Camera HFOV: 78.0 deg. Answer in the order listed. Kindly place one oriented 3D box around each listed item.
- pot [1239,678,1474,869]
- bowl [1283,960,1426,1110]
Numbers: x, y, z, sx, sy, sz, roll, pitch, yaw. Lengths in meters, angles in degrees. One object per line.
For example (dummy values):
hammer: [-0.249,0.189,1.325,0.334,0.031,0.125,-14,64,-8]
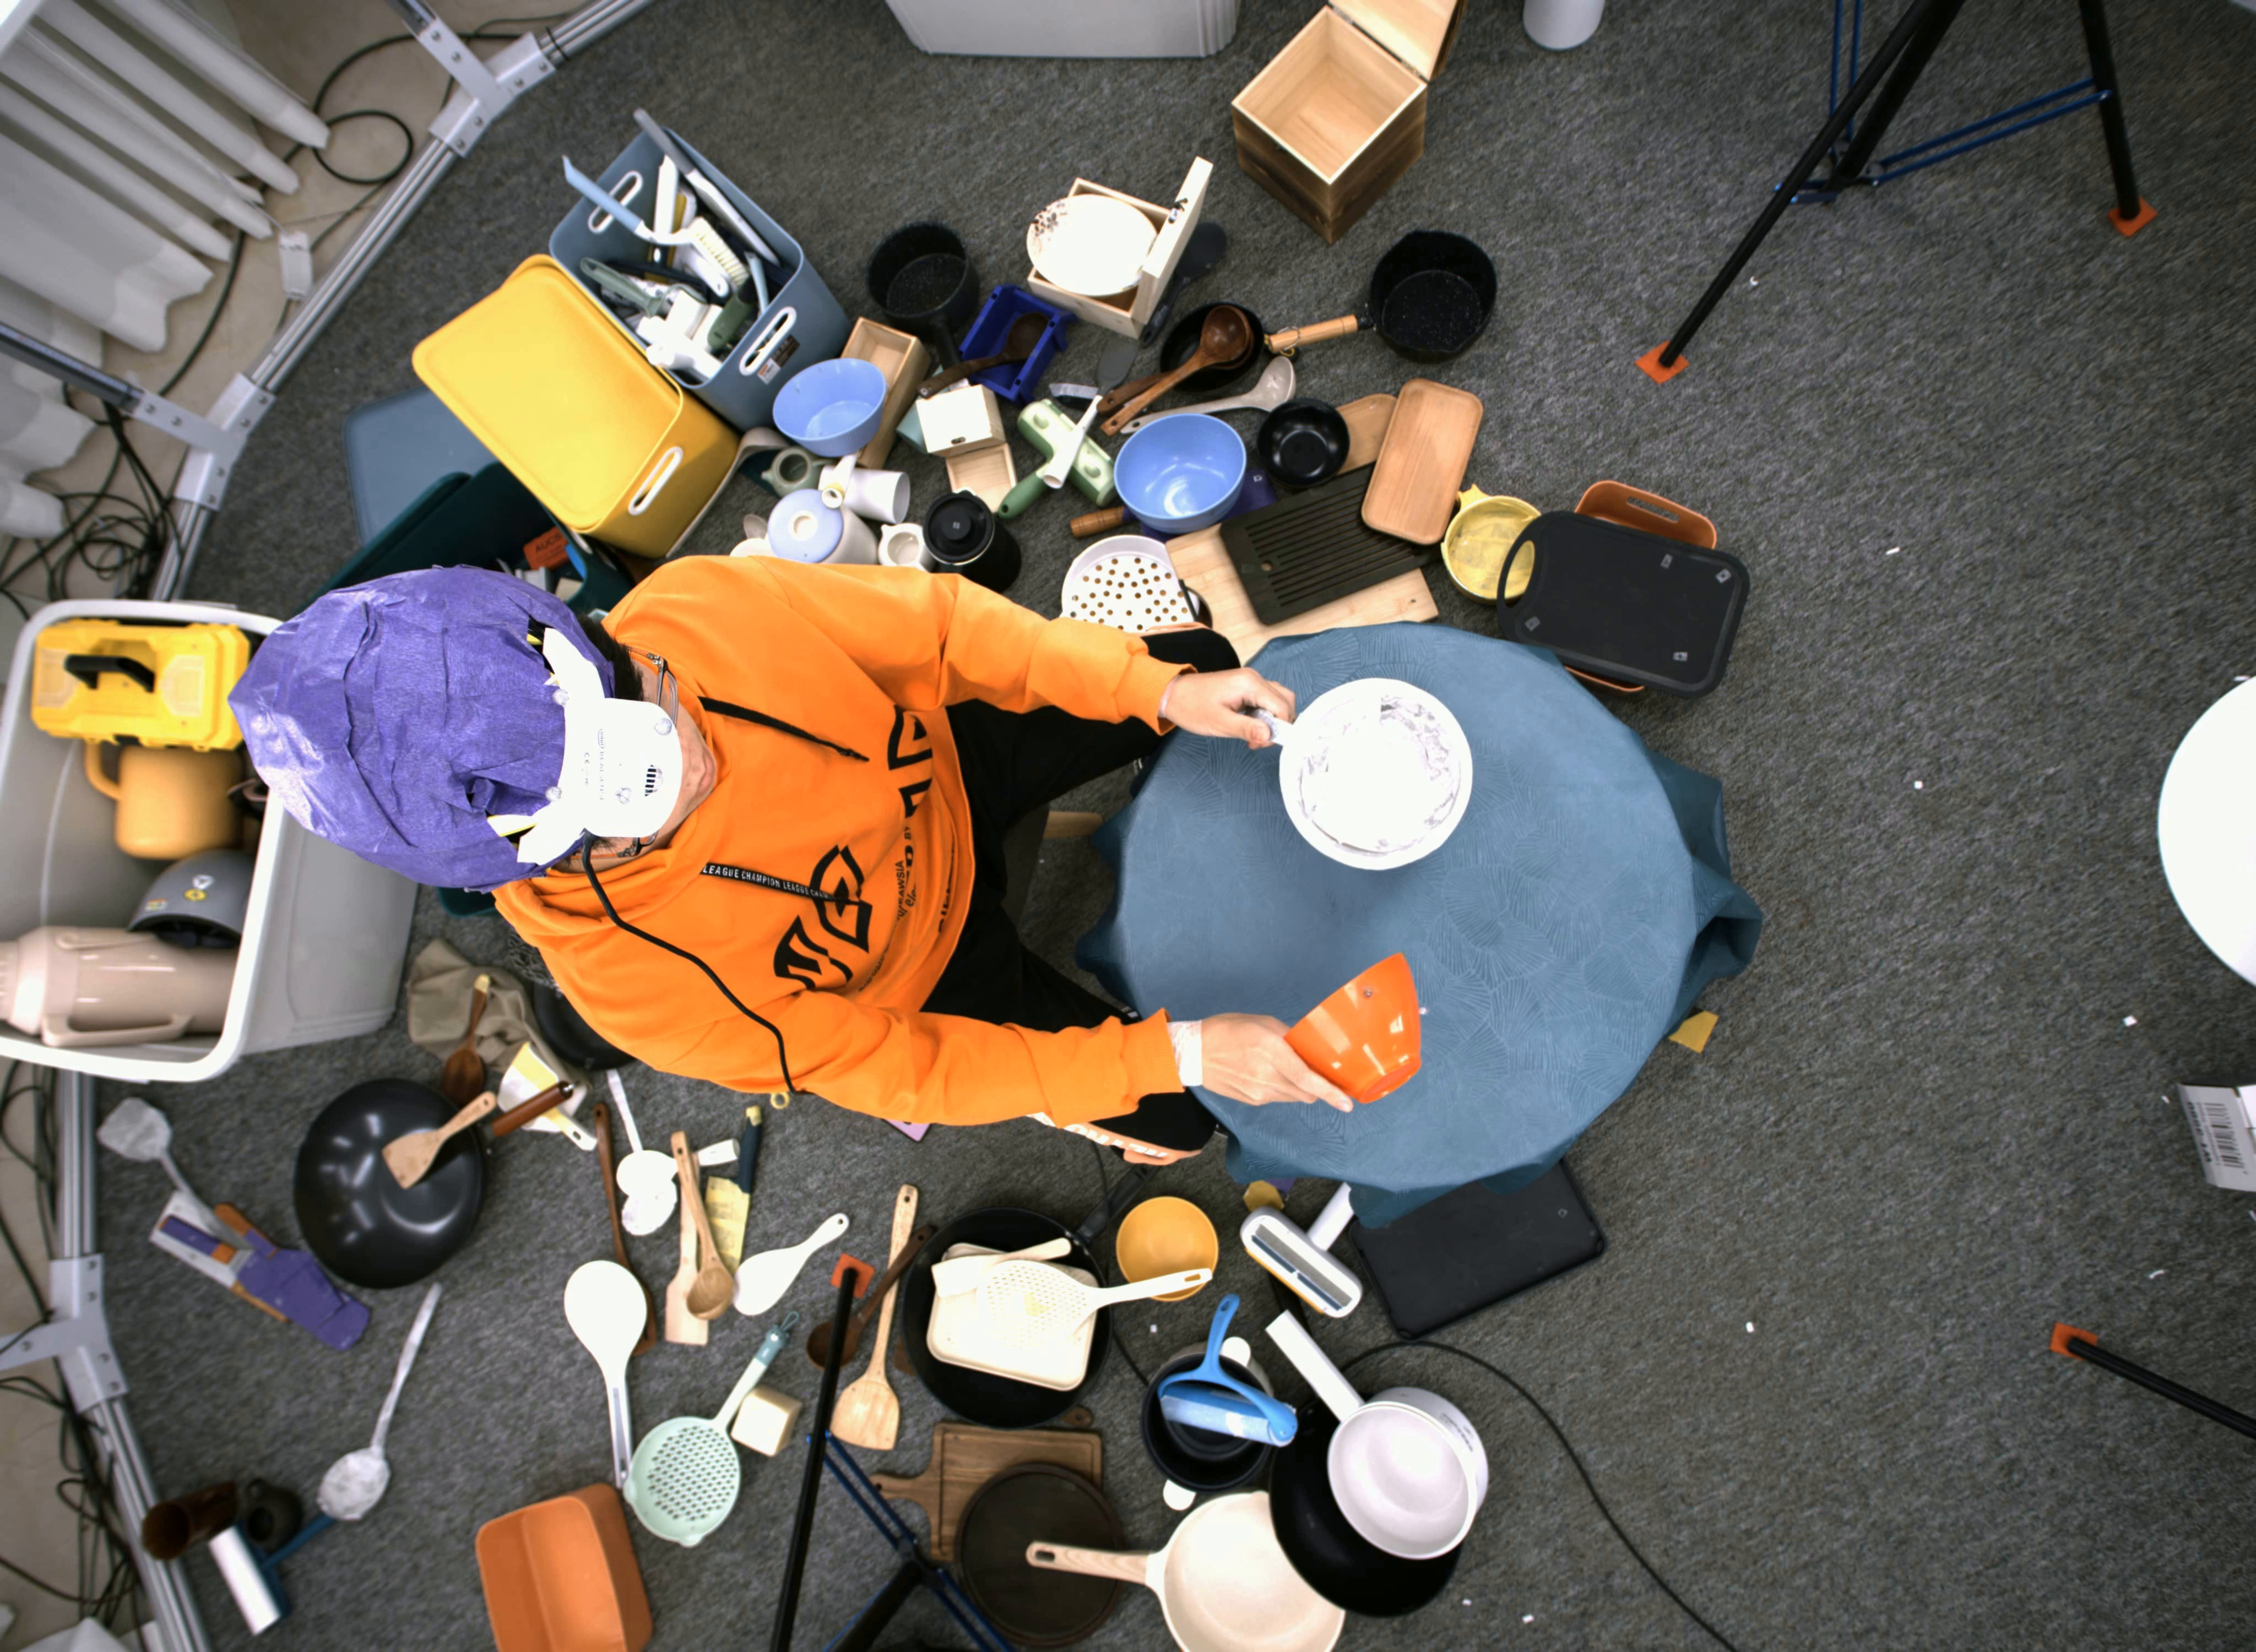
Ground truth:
pot: [0.215,-0.064,1.336,0.234,0.135,0.180,22,100,9]
bowl: [0.225,0.201,1.281,0.149,0.150,0.103,-36,56,5]
